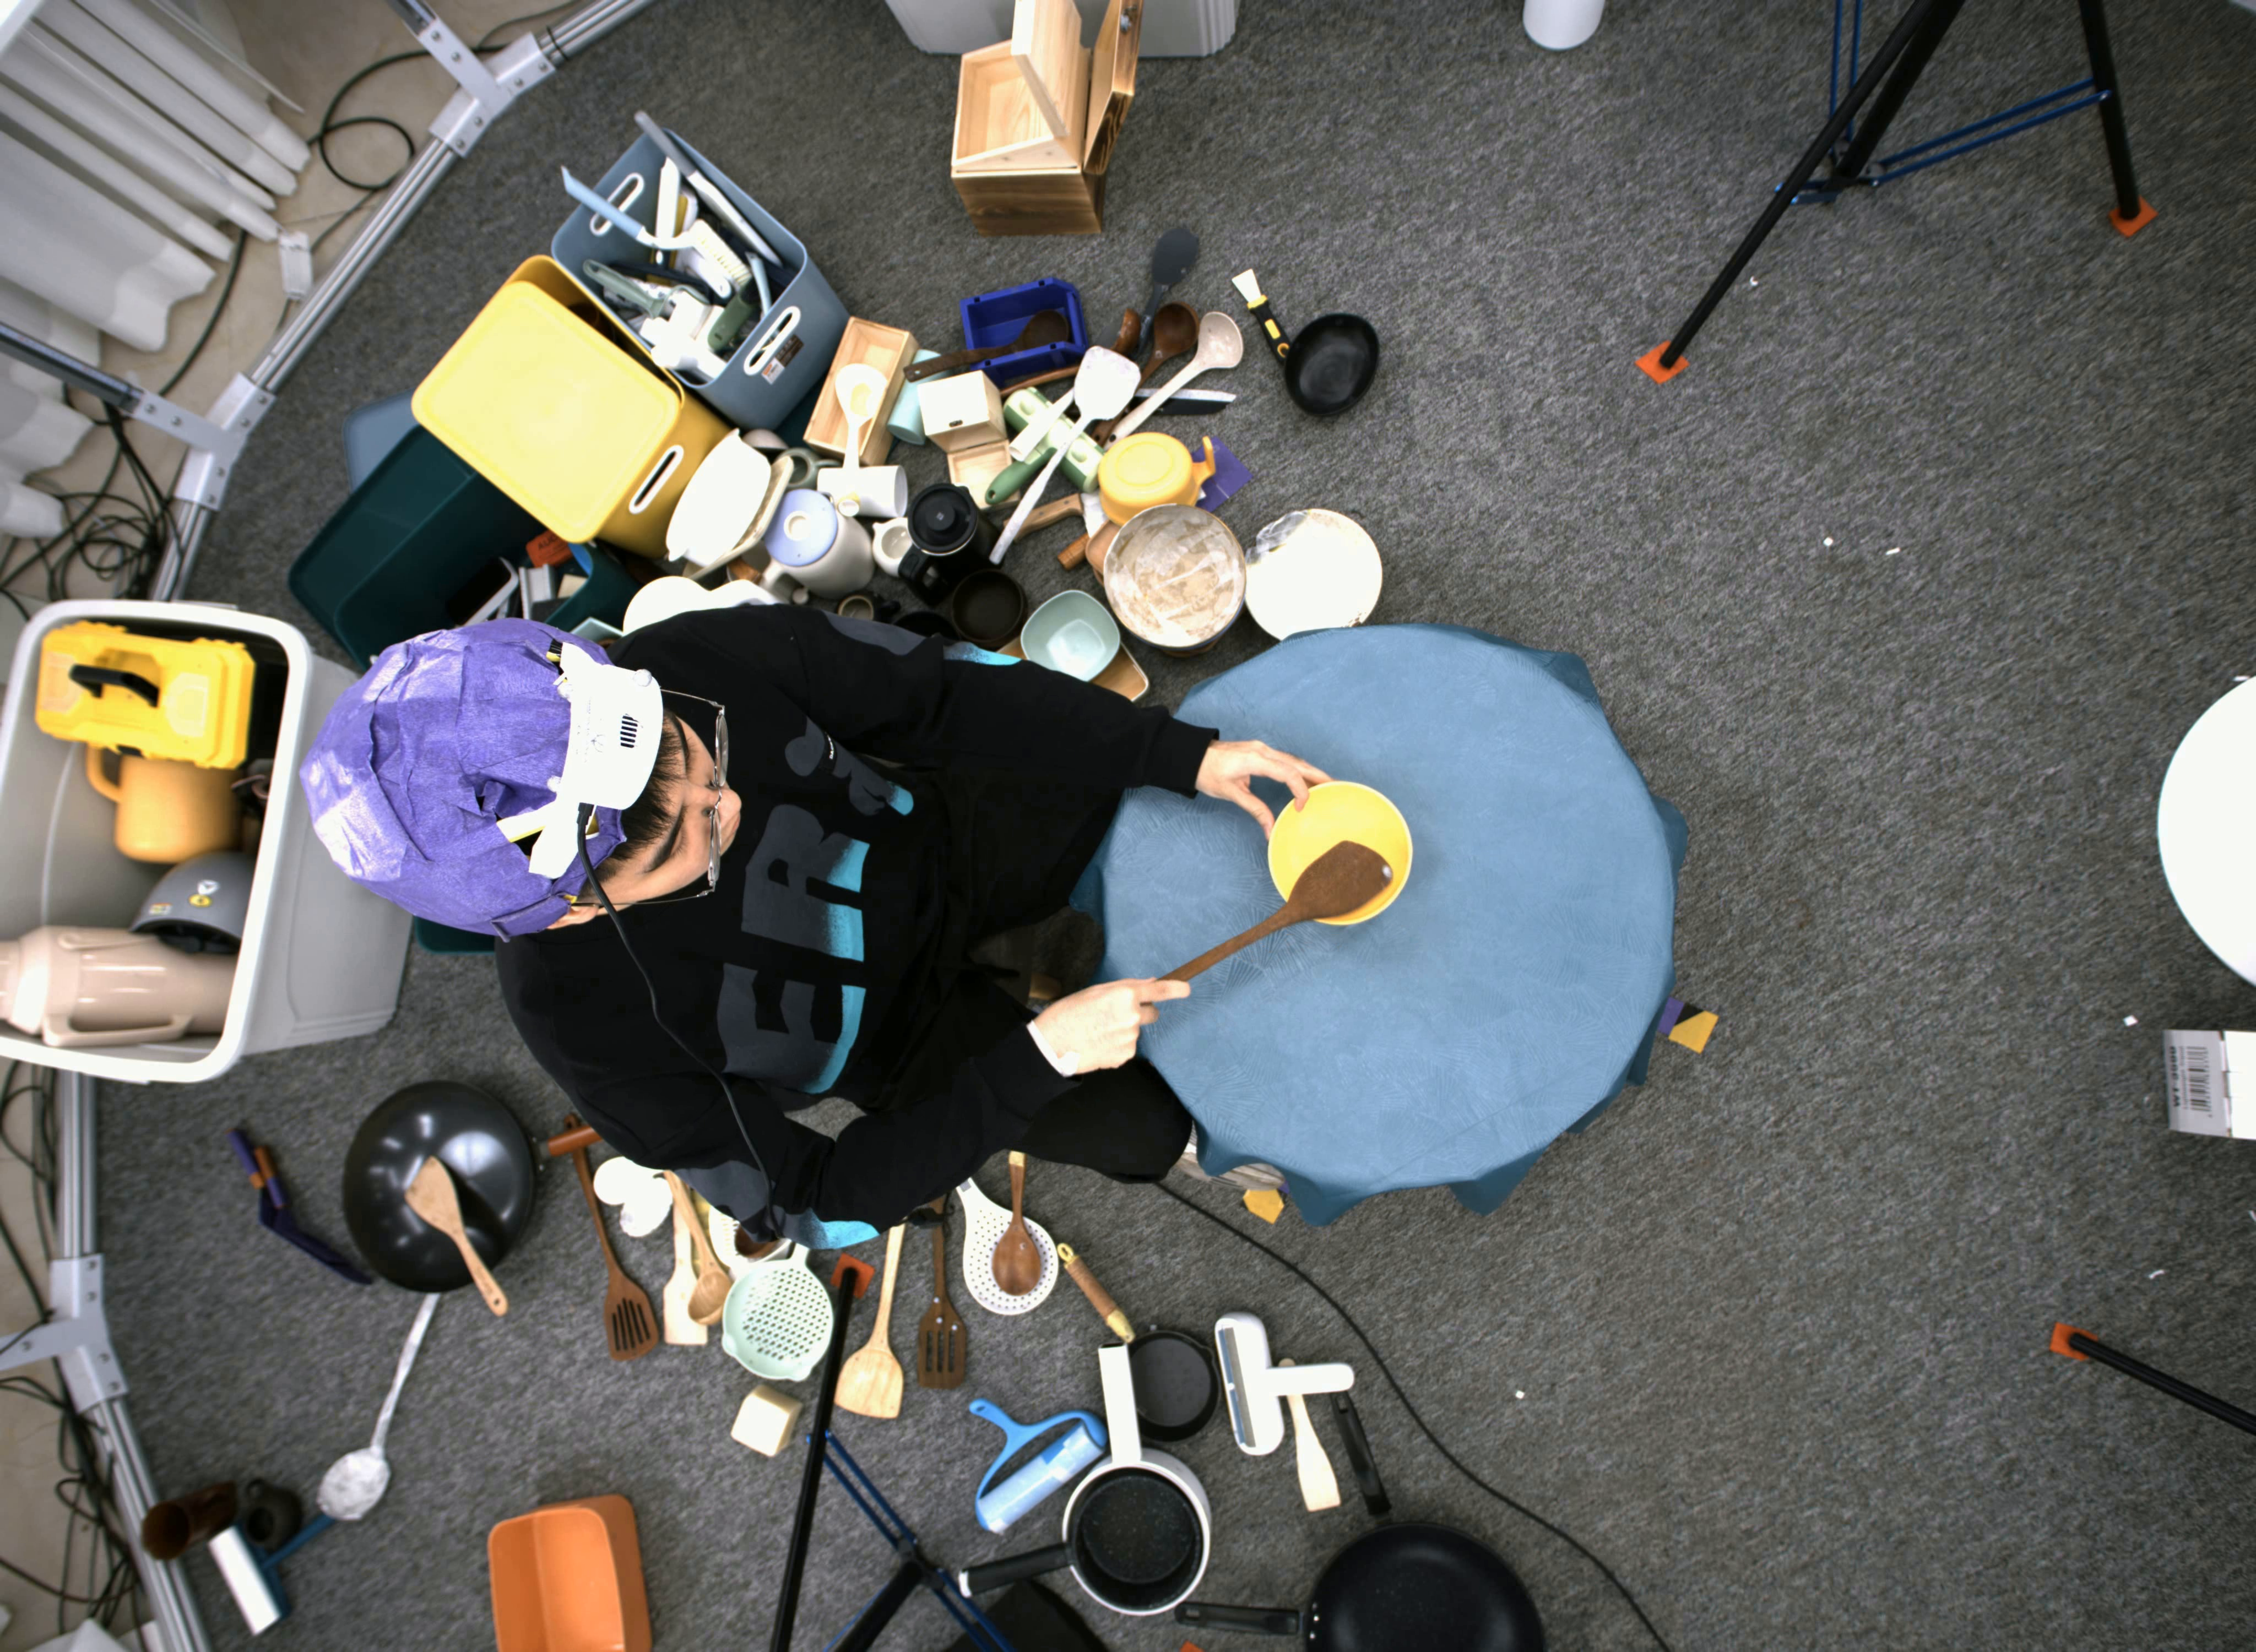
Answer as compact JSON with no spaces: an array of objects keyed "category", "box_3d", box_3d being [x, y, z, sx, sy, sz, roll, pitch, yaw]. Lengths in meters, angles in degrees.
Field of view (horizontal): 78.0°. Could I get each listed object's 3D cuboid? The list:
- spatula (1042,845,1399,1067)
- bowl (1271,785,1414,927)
[{"category":"spatula","box_3d":[0.086,0.127,1.327,0.384,0.016,0.094,-29,38,-9]},{"category":"bowl","box_3d":[0.219,0.030,1.427,0.146,0.060,0.145,0,91,5]}]
